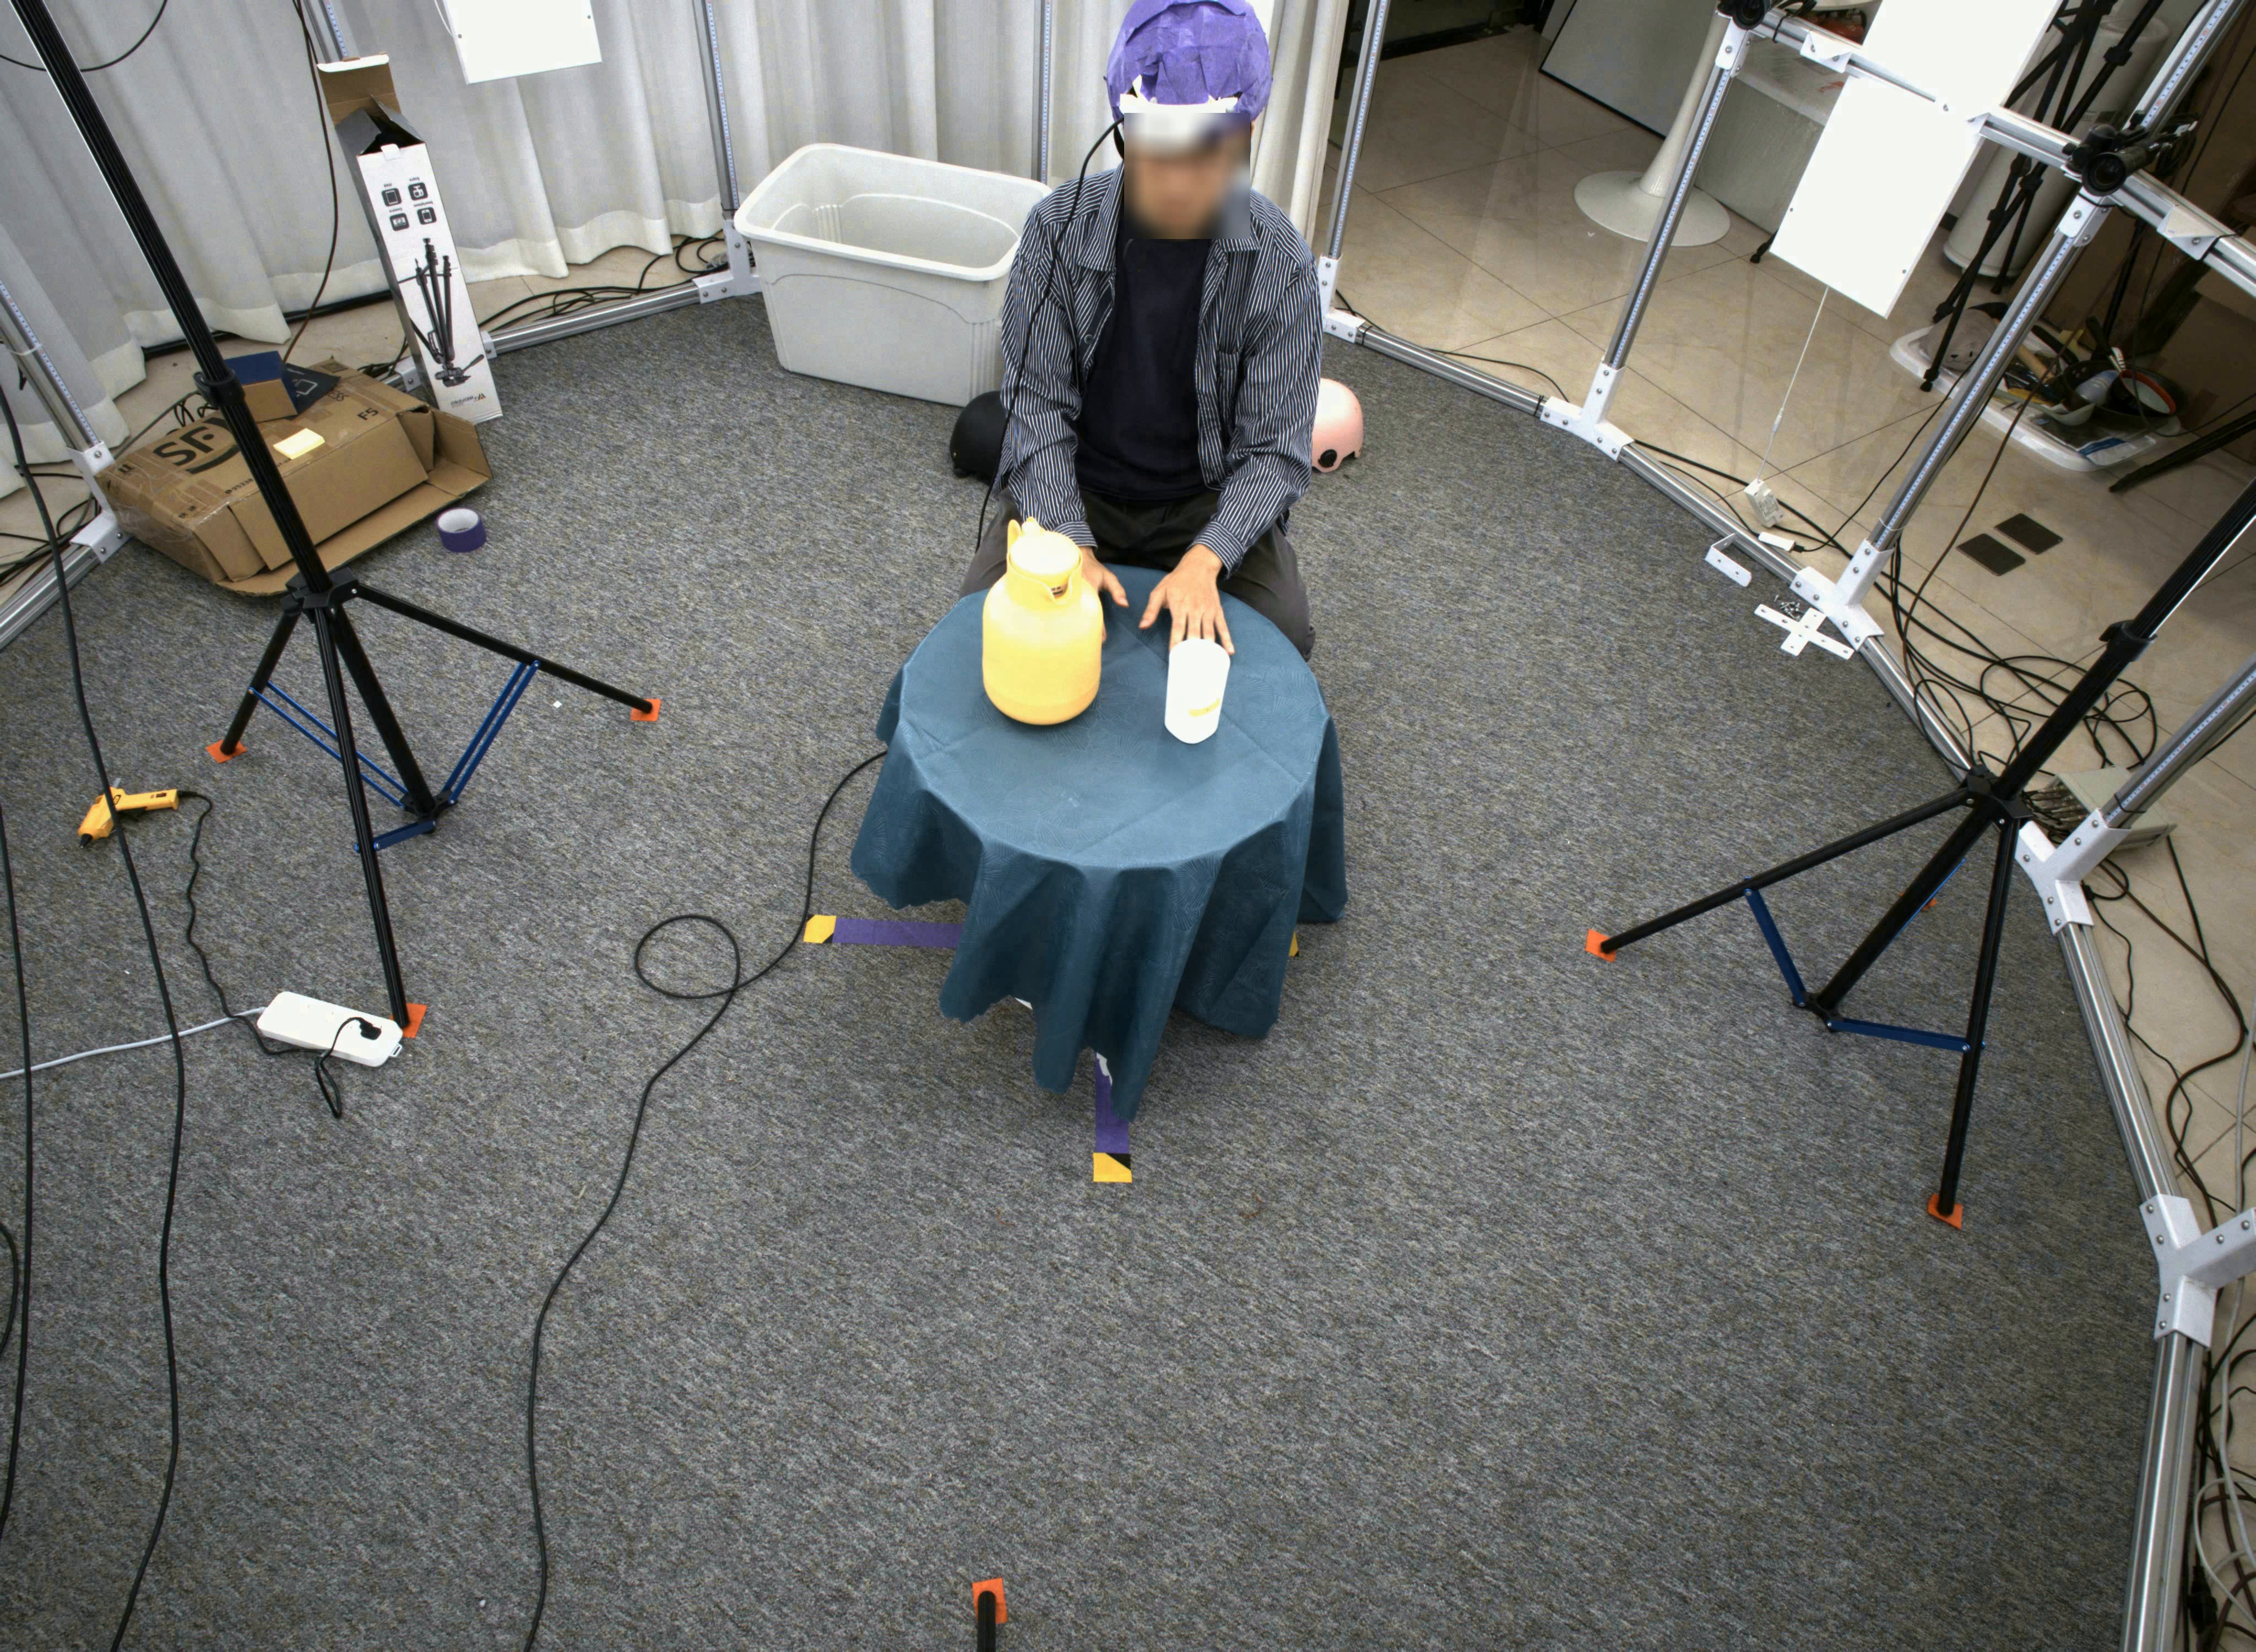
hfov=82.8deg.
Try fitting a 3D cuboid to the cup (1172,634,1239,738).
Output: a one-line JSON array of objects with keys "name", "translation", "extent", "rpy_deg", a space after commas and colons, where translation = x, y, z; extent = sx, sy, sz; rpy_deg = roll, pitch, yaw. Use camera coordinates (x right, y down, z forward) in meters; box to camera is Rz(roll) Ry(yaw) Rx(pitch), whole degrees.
[{"name": "cup", "translation": [0.103, -0.188, 1.747], "extent": [0.081, 0.122, 0.084], "rpy_deg": [2, 49, -3]}]

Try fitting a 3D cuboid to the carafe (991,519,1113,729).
[{"name": "carafe", "translation": [-0.107, -0.278, 1.725], "extent": [0.163, 0.254, 0.207], "rpy_deg": [-14, 52, -19]}]
